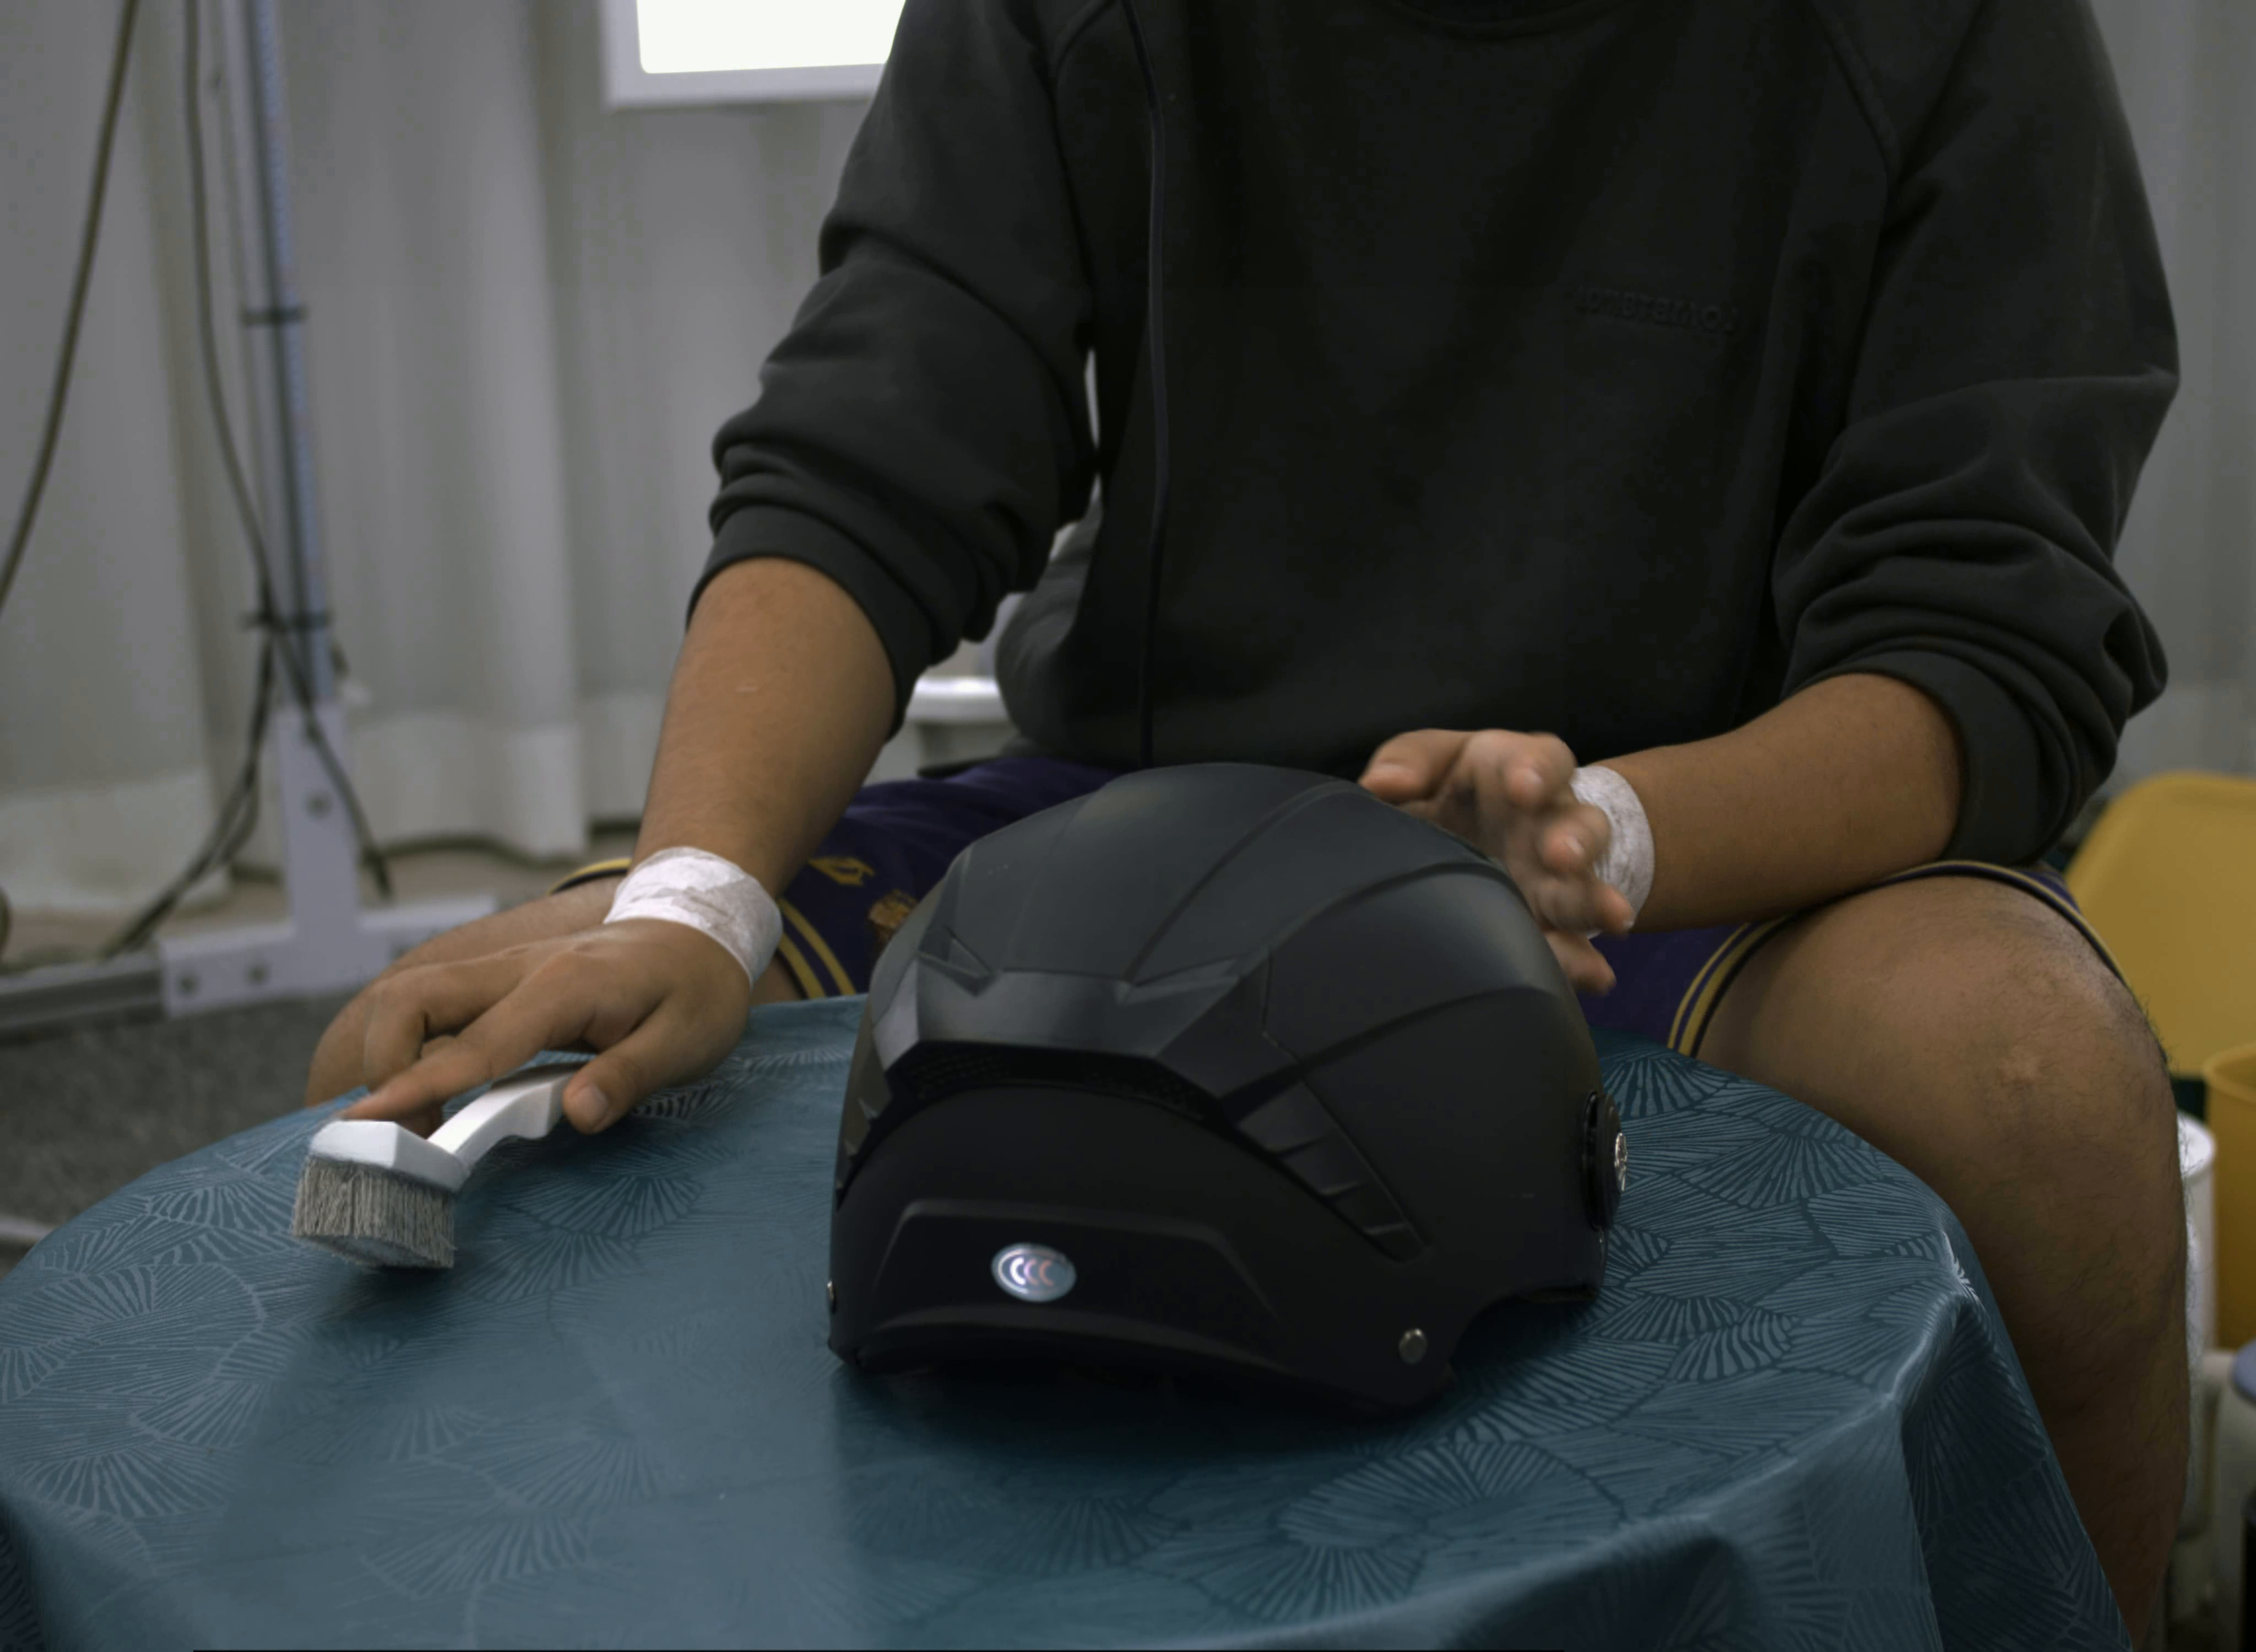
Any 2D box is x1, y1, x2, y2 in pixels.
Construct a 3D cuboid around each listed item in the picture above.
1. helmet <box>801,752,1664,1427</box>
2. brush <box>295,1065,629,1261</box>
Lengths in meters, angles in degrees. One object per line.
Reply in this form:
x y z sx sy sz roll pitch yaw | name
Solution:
0.029 0.065 1.591 0.247 0.171 0.277 4 19 24 | helmet
-0.206 0.107 1.742 0.034 0.050 0.243 -3 1 14 | brush
